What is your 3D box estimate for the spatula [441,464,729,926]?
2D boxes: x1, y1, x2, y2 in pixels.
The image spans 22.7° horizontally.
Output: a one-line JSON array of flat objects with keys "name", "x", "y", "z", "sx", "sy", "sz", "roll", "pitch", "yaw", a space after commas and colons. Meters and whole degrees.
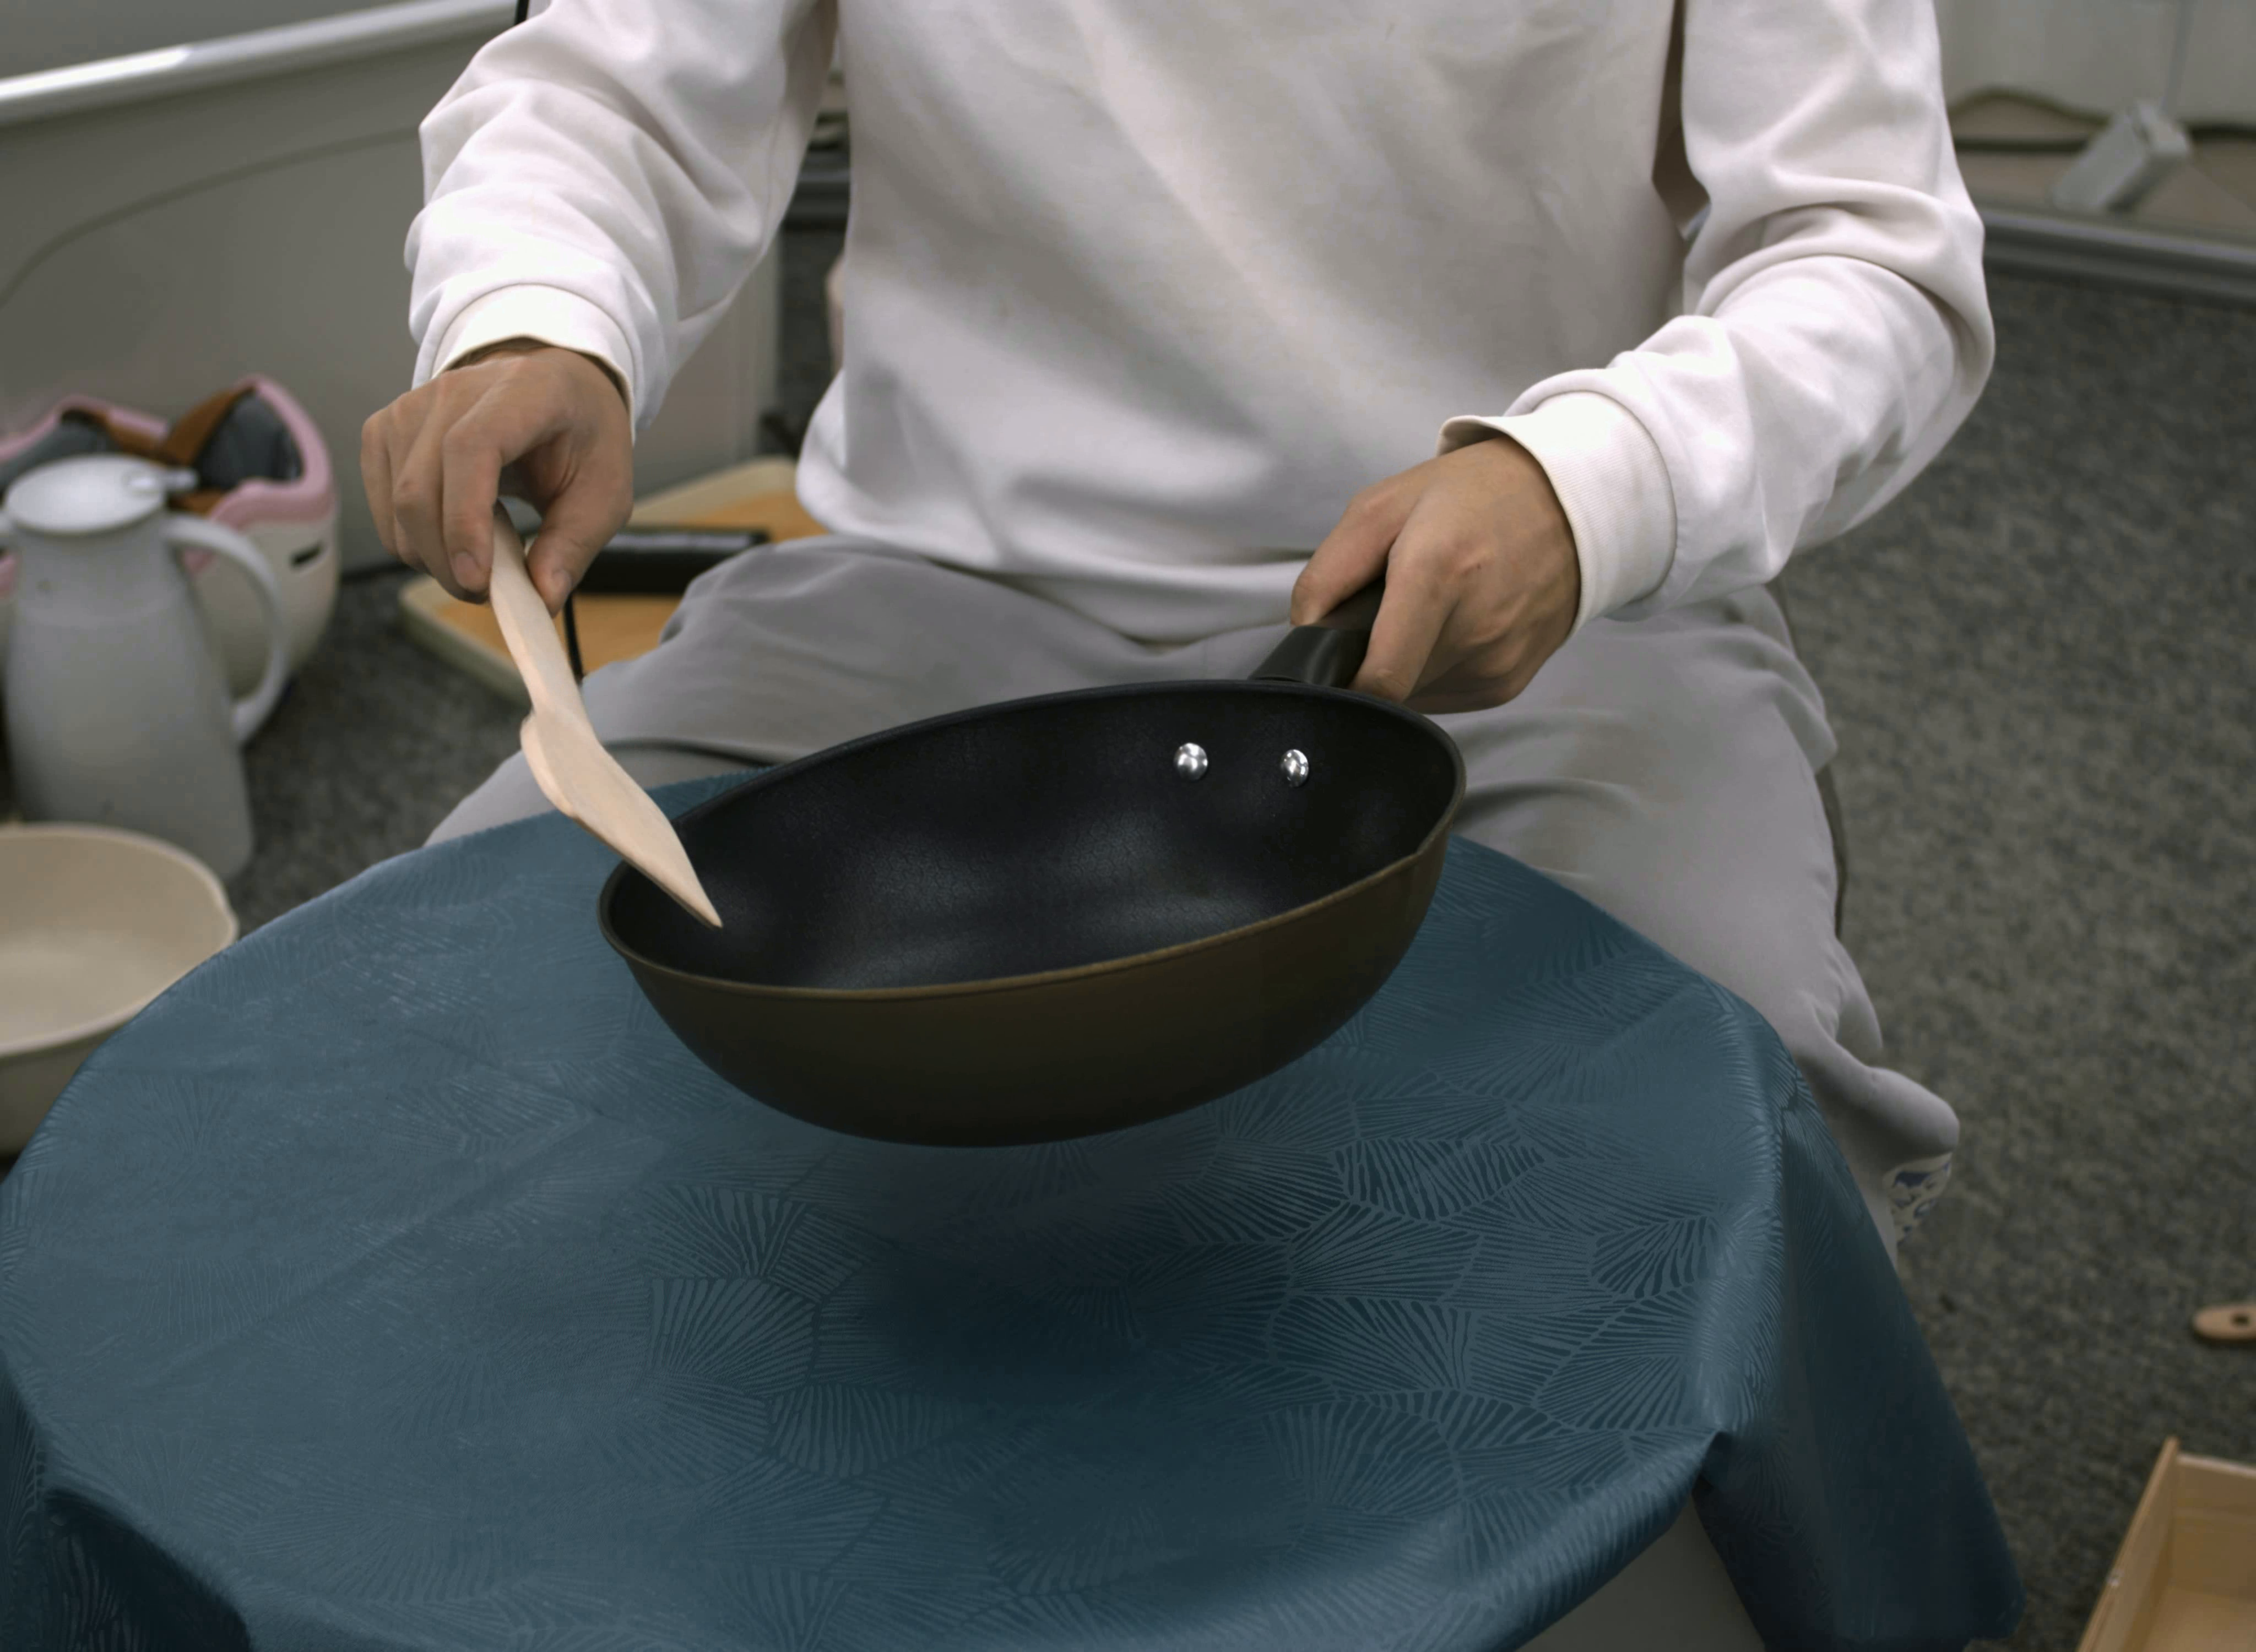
[{"name": "spatula", "x": -0.191, "y": -0.053, "z": 1.857, "sx": 0.010, "sy": 0.072, "sz": 0.296, "roll": -46, "pitch": 32, "yaw": 9}]

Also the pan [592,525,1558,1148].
[{"name": "pan", "x": 0.022, "y": 0.004, "z": 1.875, "sx": 0.285, "sy": 0.086, "sz": 0.470, "roll": 4, "pitch": 22, "yaw": 33}]
